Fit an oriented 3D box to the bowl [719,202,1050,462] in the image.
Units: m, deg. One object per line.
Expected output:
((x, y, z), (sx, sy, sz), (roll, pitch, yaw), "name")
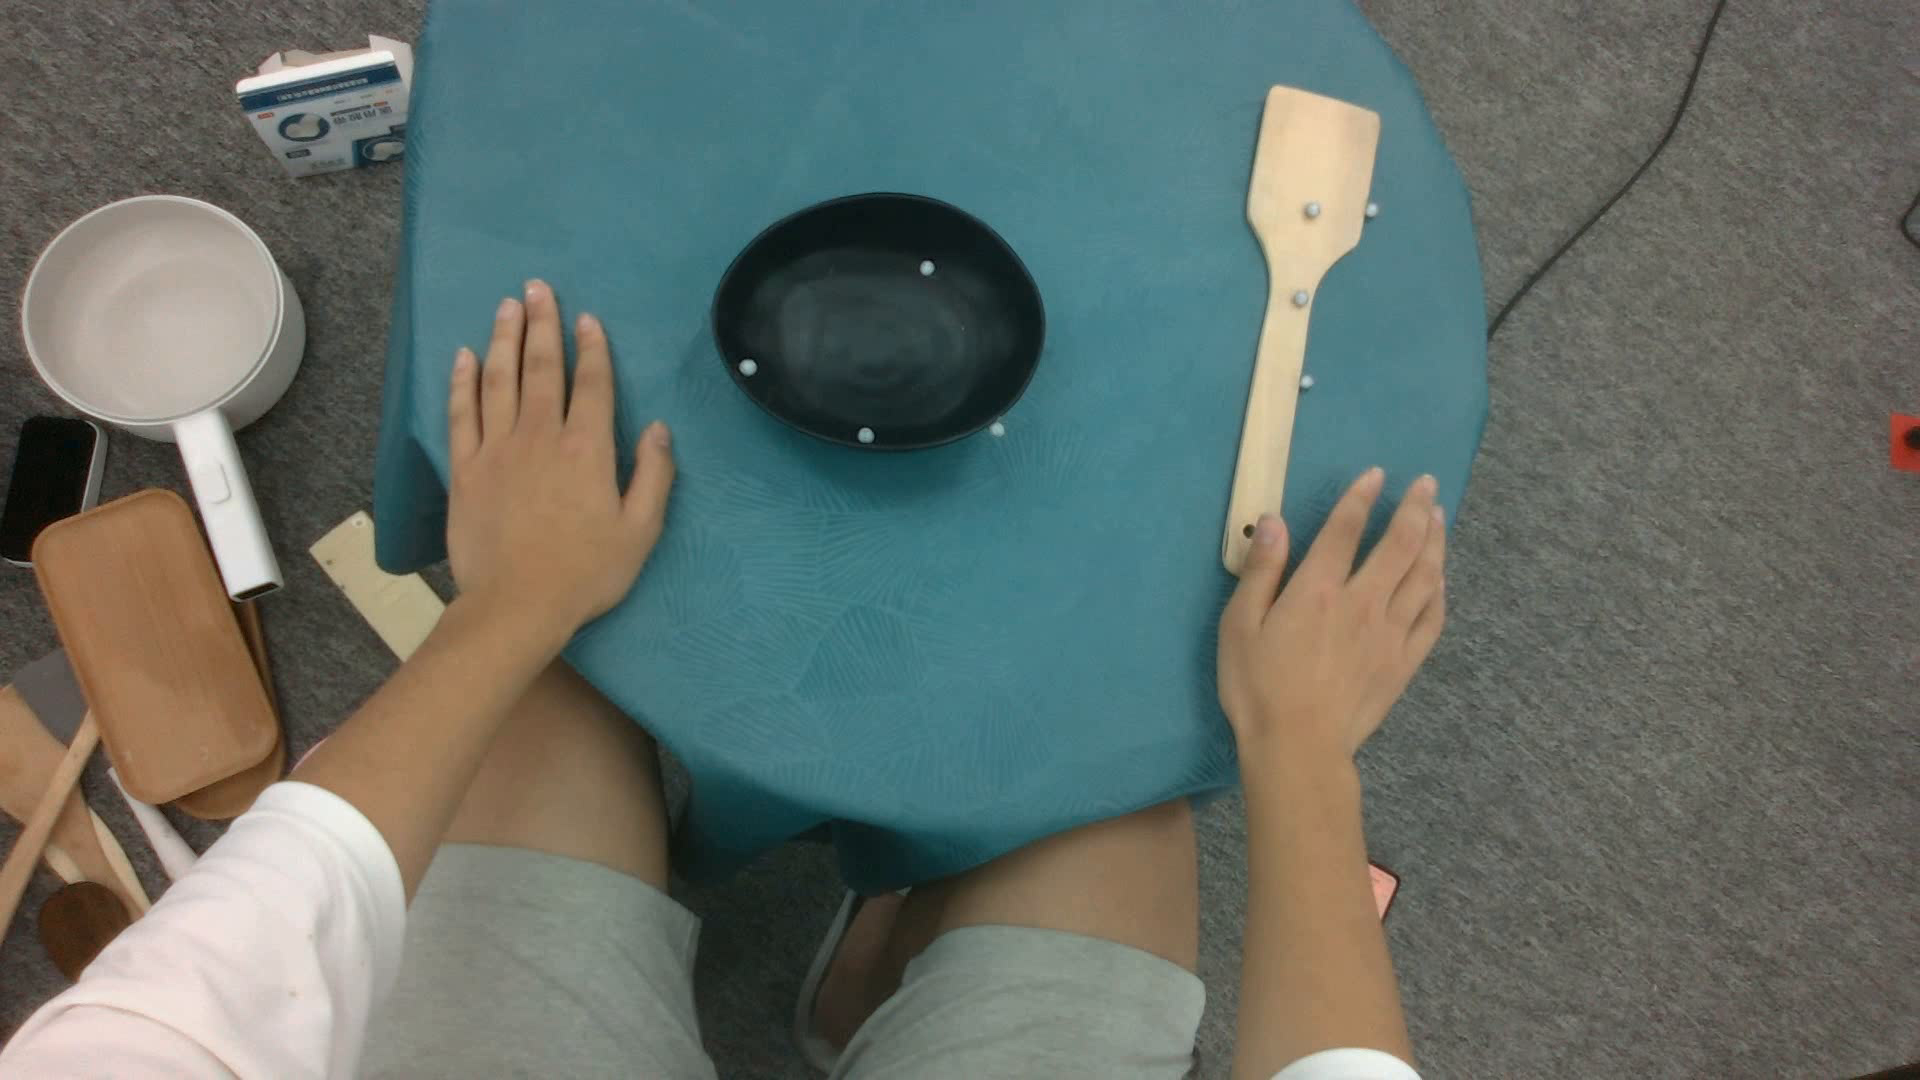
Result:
((-0.040, -0.102, 0.730), (0.170, 0.066, 0.137), (-2, 79, -6), "bowl")

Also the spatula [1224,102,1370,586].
((0.186, -0.115, 0.792), (0.072, 0.010, 0.293), (13, 77, -6), "spatula")
